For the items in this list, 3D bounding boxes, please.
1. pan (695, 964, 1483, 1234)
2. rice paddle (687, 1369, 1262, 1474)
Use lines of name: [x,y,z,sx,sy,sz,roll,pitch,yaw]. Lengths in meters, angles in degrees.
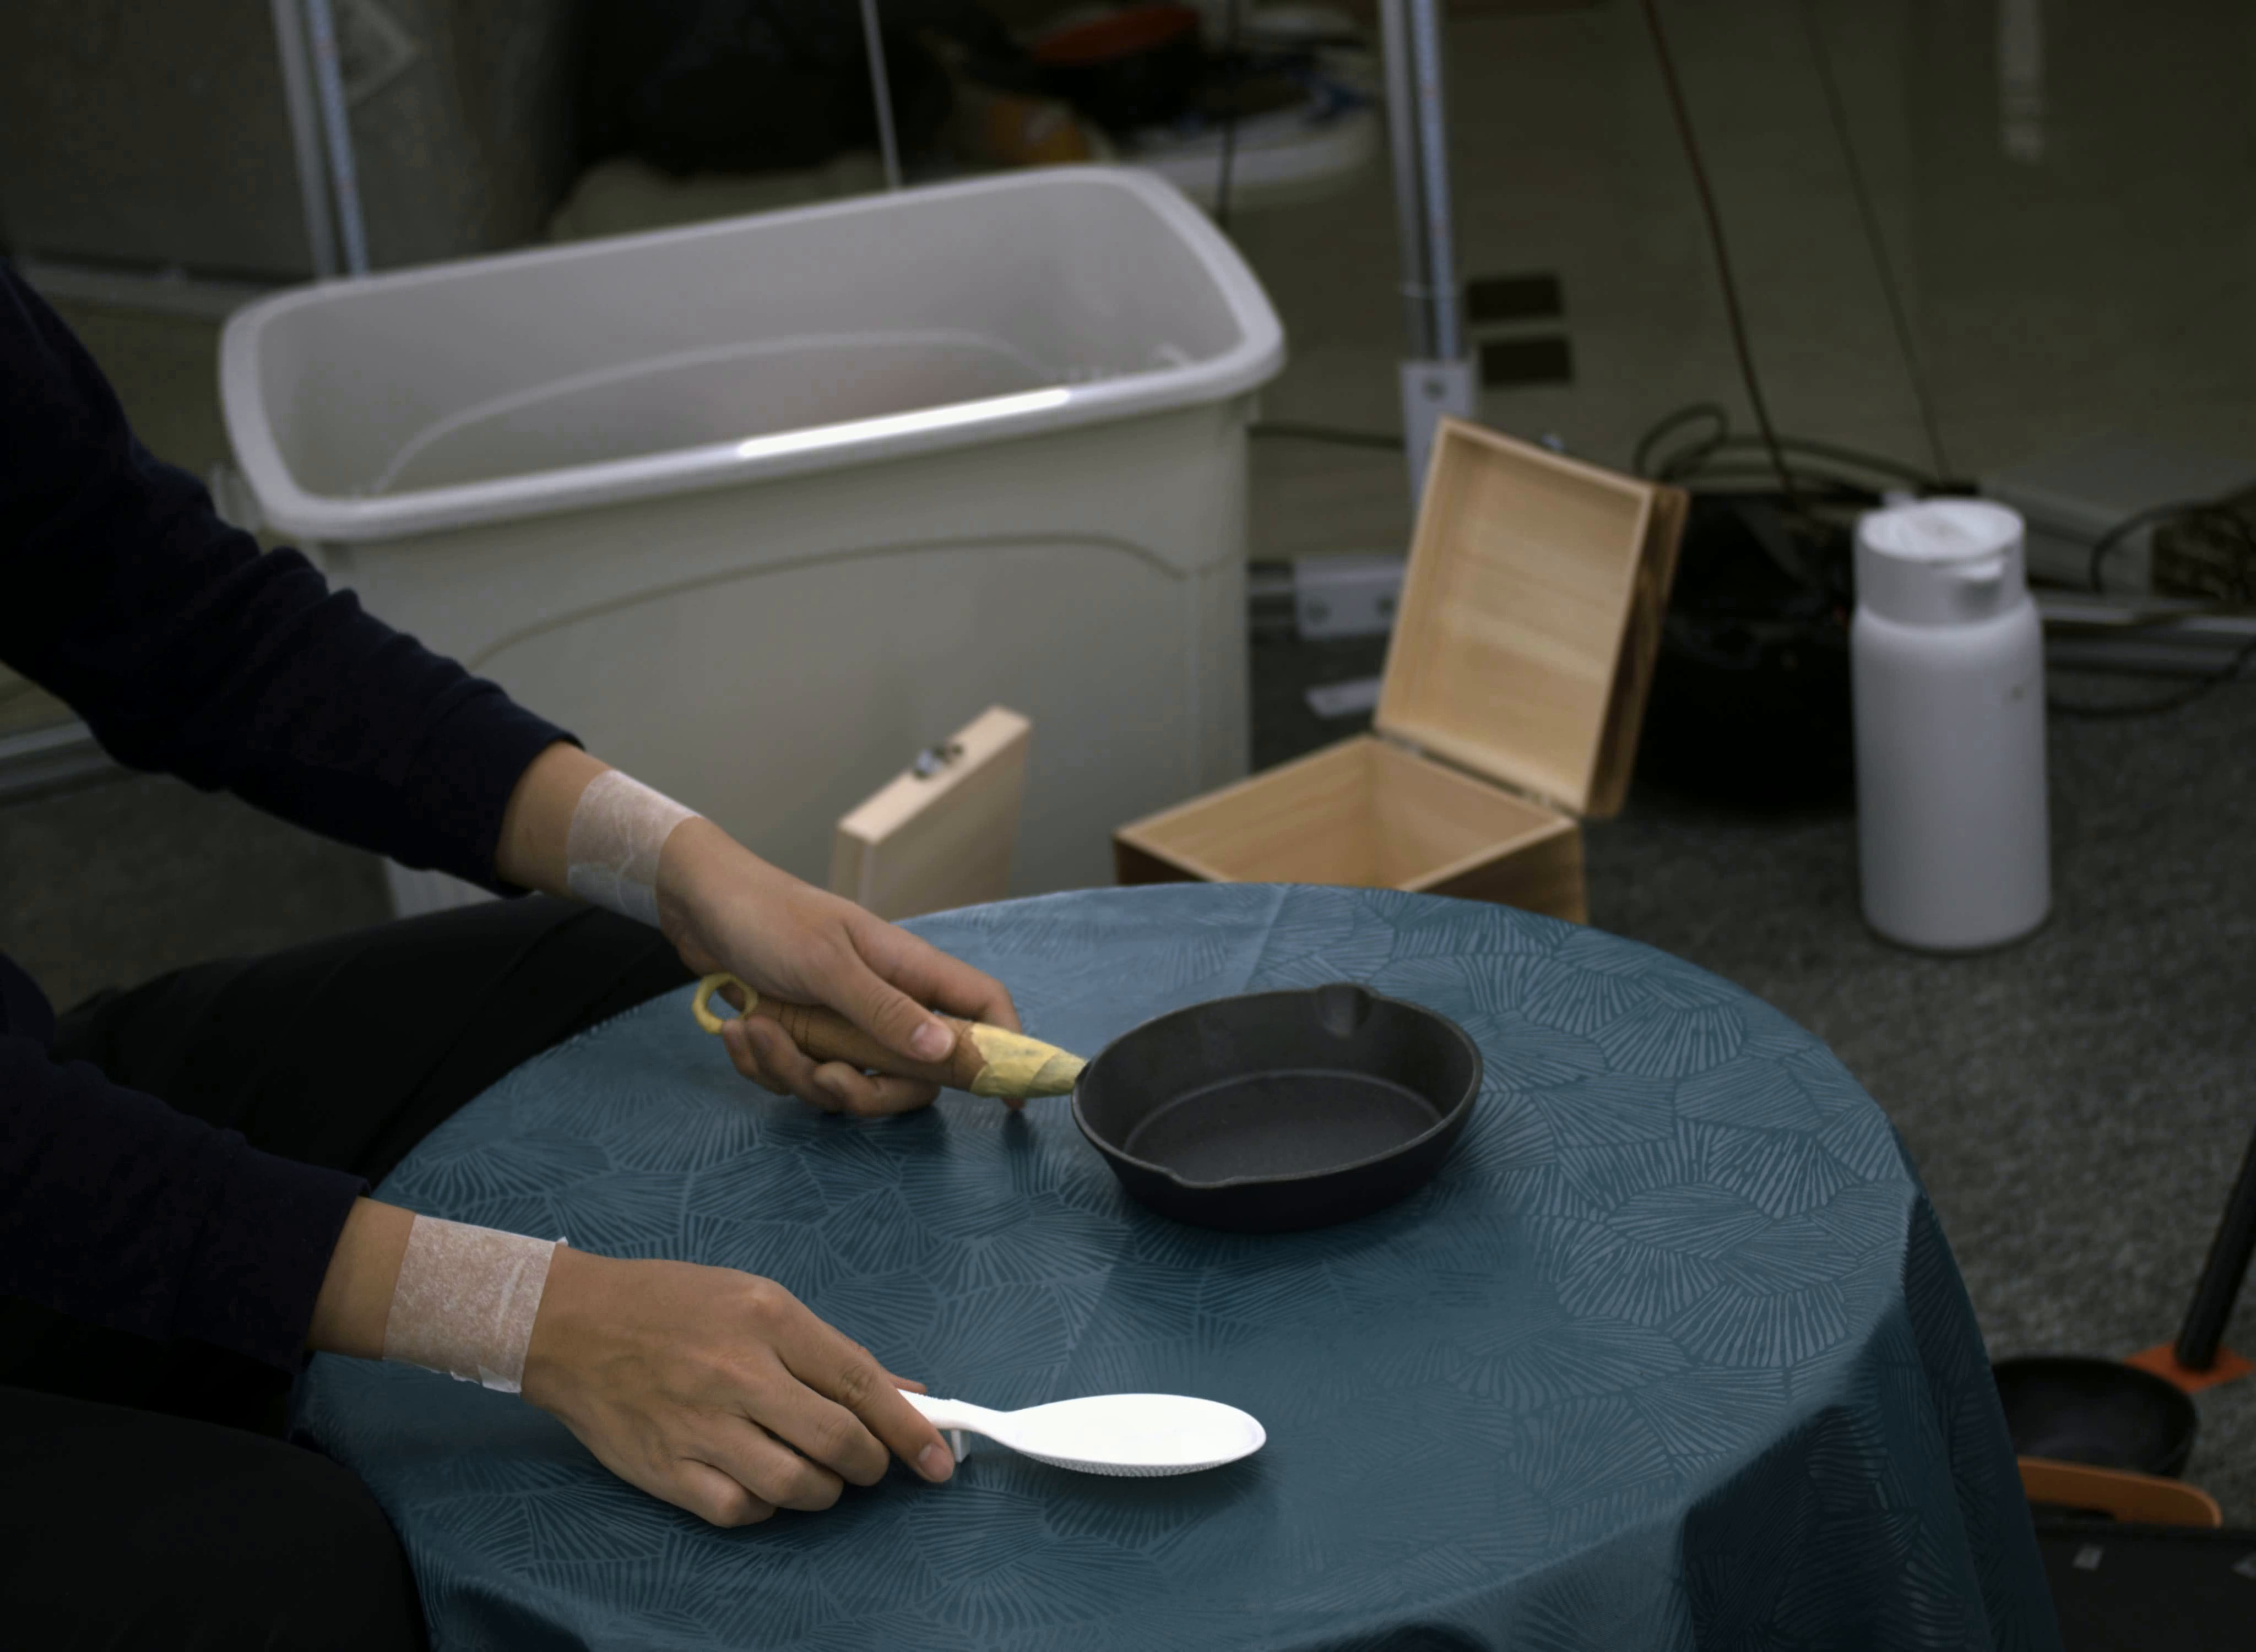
pan: [-0.020,0.095,2.185,0.323,0.050,0.167,7,29,24]
rice paddle: [-0.053,0.207,1.979,0.205,0.030,0.068,0,16,15]
